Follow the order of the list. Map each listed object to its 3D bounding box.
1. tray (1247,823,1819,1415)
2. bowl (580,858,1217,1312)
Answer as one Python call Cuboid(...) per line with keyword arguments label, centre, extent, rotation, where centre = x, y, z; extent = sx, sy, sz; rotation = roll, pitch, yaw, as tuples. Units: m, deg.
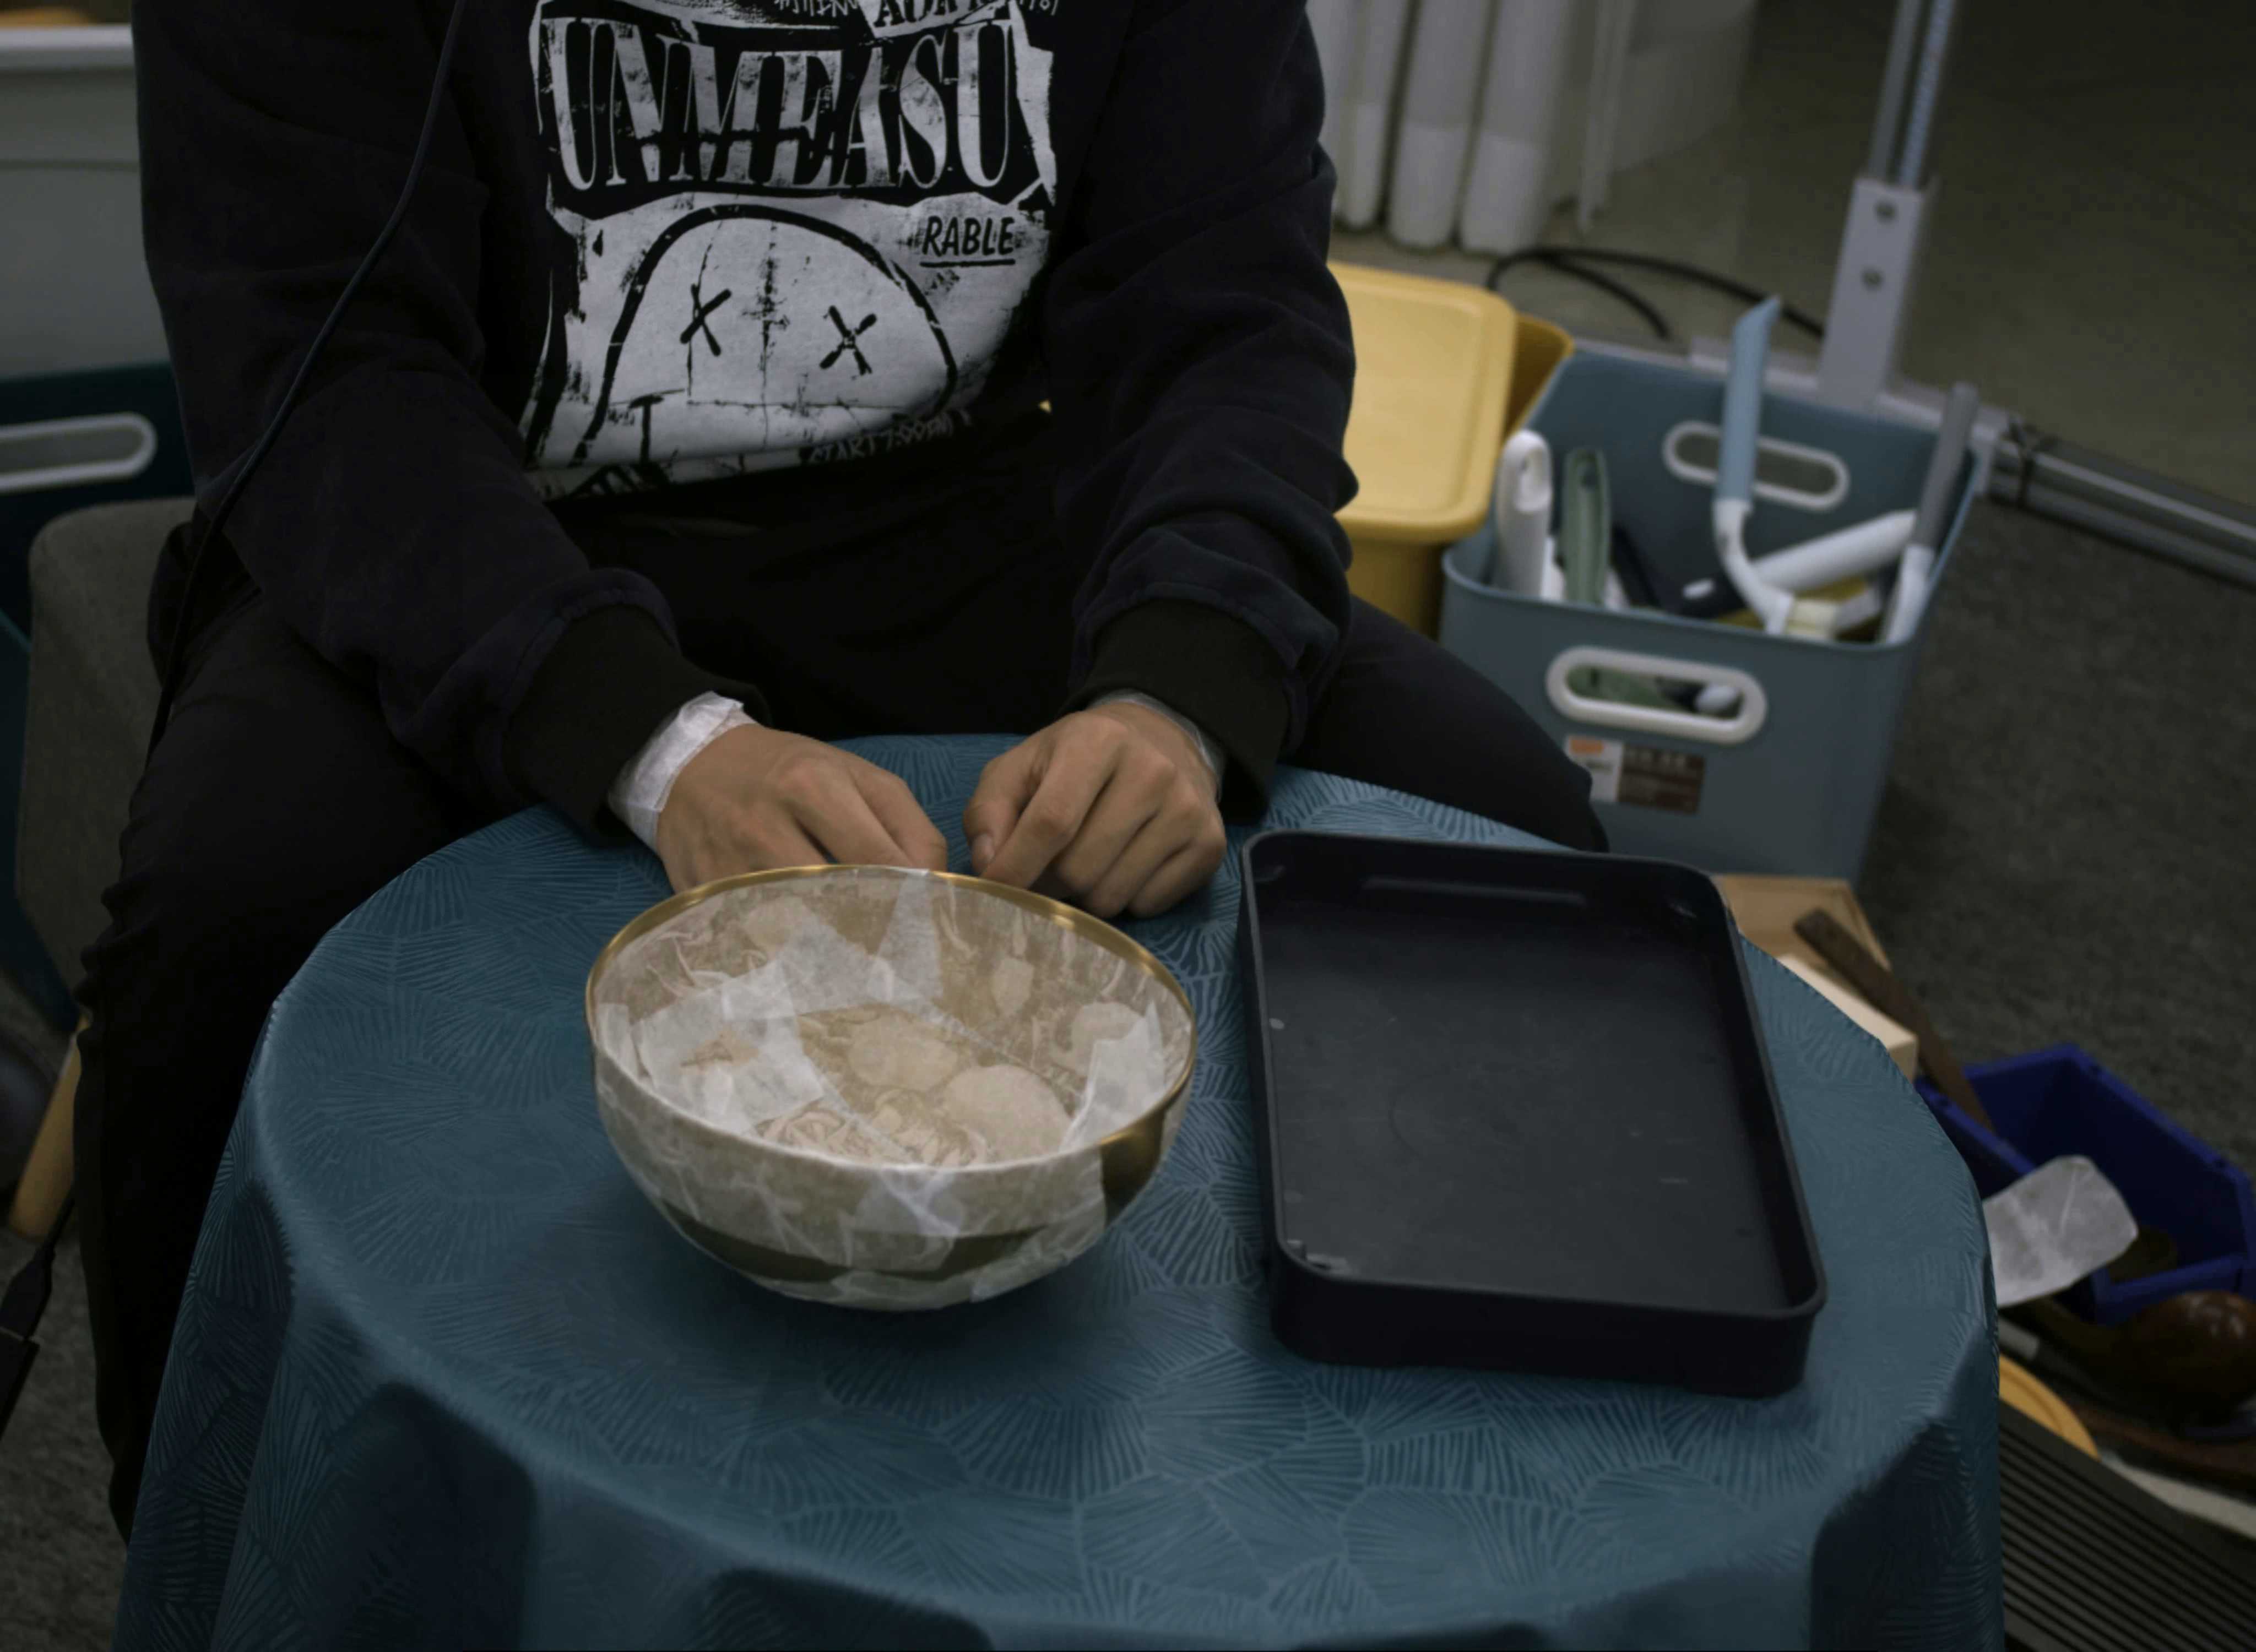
Cuboid(label="tray", centre=(0.133, 0.095, 1.851), extent=(0.184, 0.037, 0.320), rotation=(6, 28, -2))
Cuboid(label="bowl", centre=(-0.077, 0.096, 1.735), extent=(0.214, 0.094, 0.216), rotation=(4, 26, -2))
